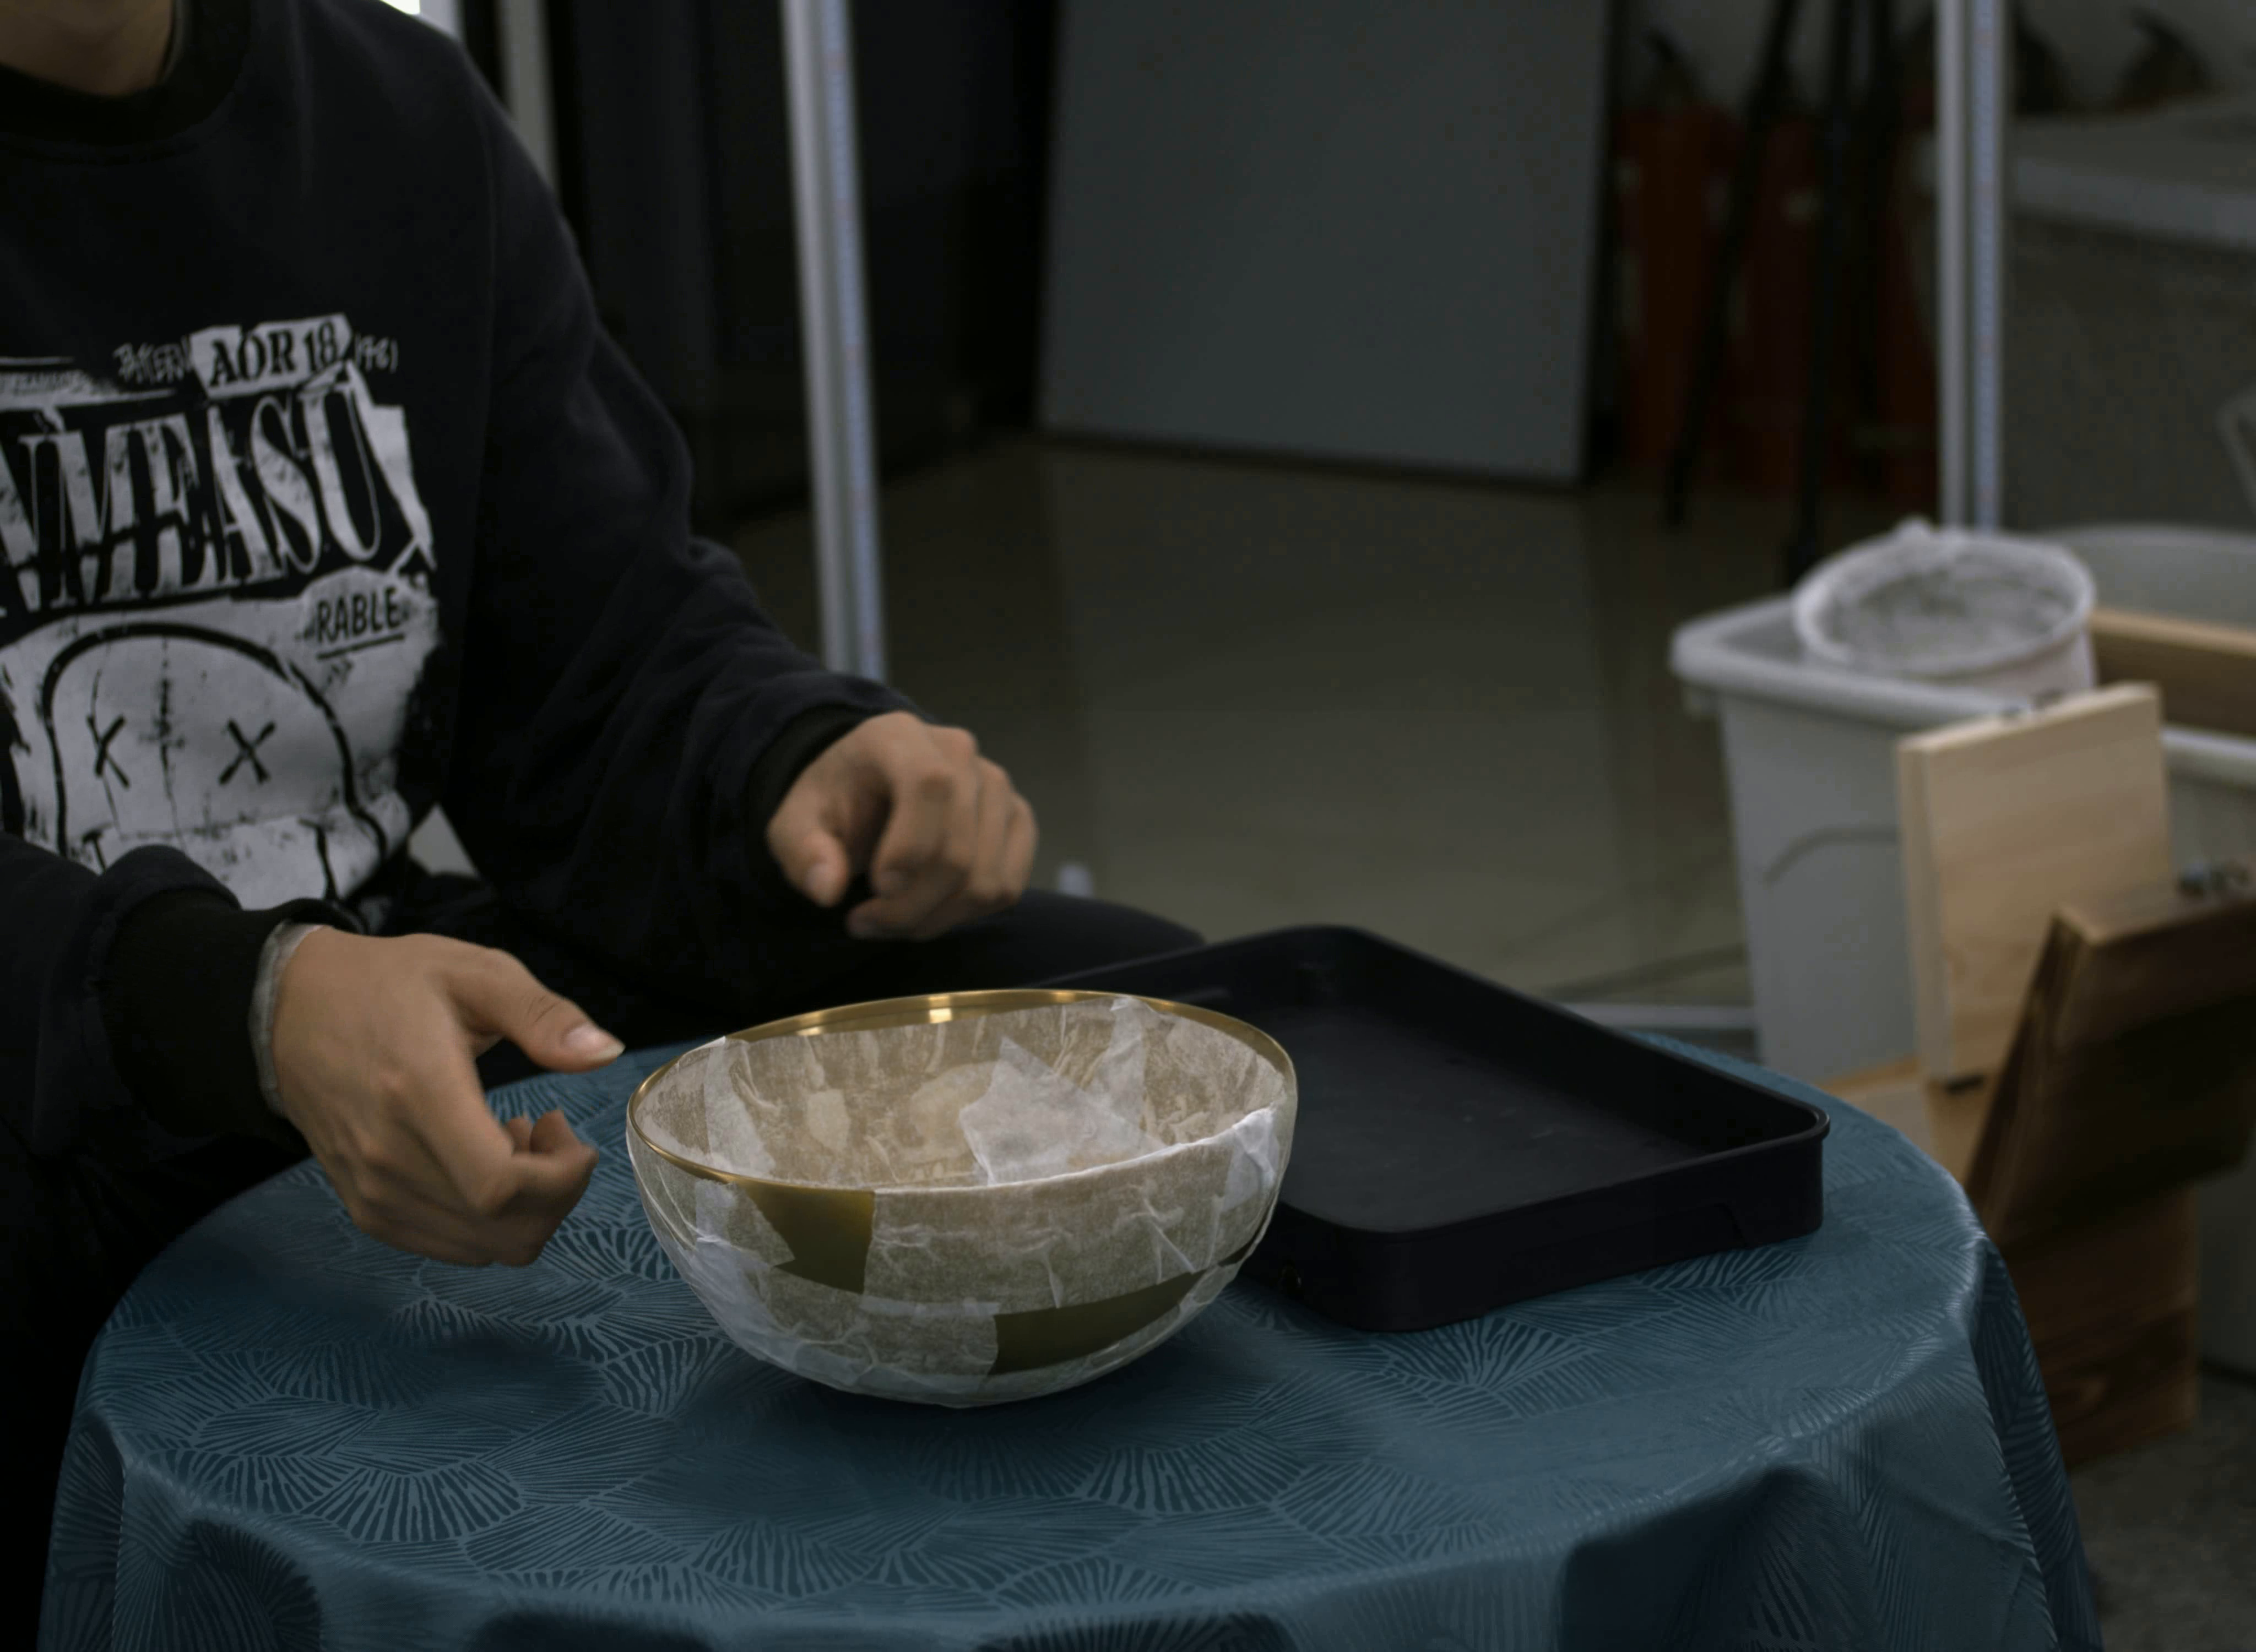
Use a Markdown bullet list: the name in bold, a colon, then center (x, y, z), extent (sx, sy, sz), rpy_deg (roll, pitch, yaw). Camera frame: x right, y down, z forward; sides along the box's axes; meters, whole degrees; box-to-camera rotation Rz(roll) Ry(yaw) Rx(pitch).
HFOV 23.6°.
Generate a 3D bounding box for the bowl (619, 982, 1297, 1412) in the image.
- **bowl**: center (-0.047, 0.117, 1.608), extent (0.212, 0.095, 0.215), rpy_deg (-5, 14, 0)

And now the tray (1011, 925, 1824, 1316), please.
- **tray**: center (0.075, 0.092, 1.778), extent (0.180, 0.037, 0.321), rpy_deg (-13, 14, -25)
